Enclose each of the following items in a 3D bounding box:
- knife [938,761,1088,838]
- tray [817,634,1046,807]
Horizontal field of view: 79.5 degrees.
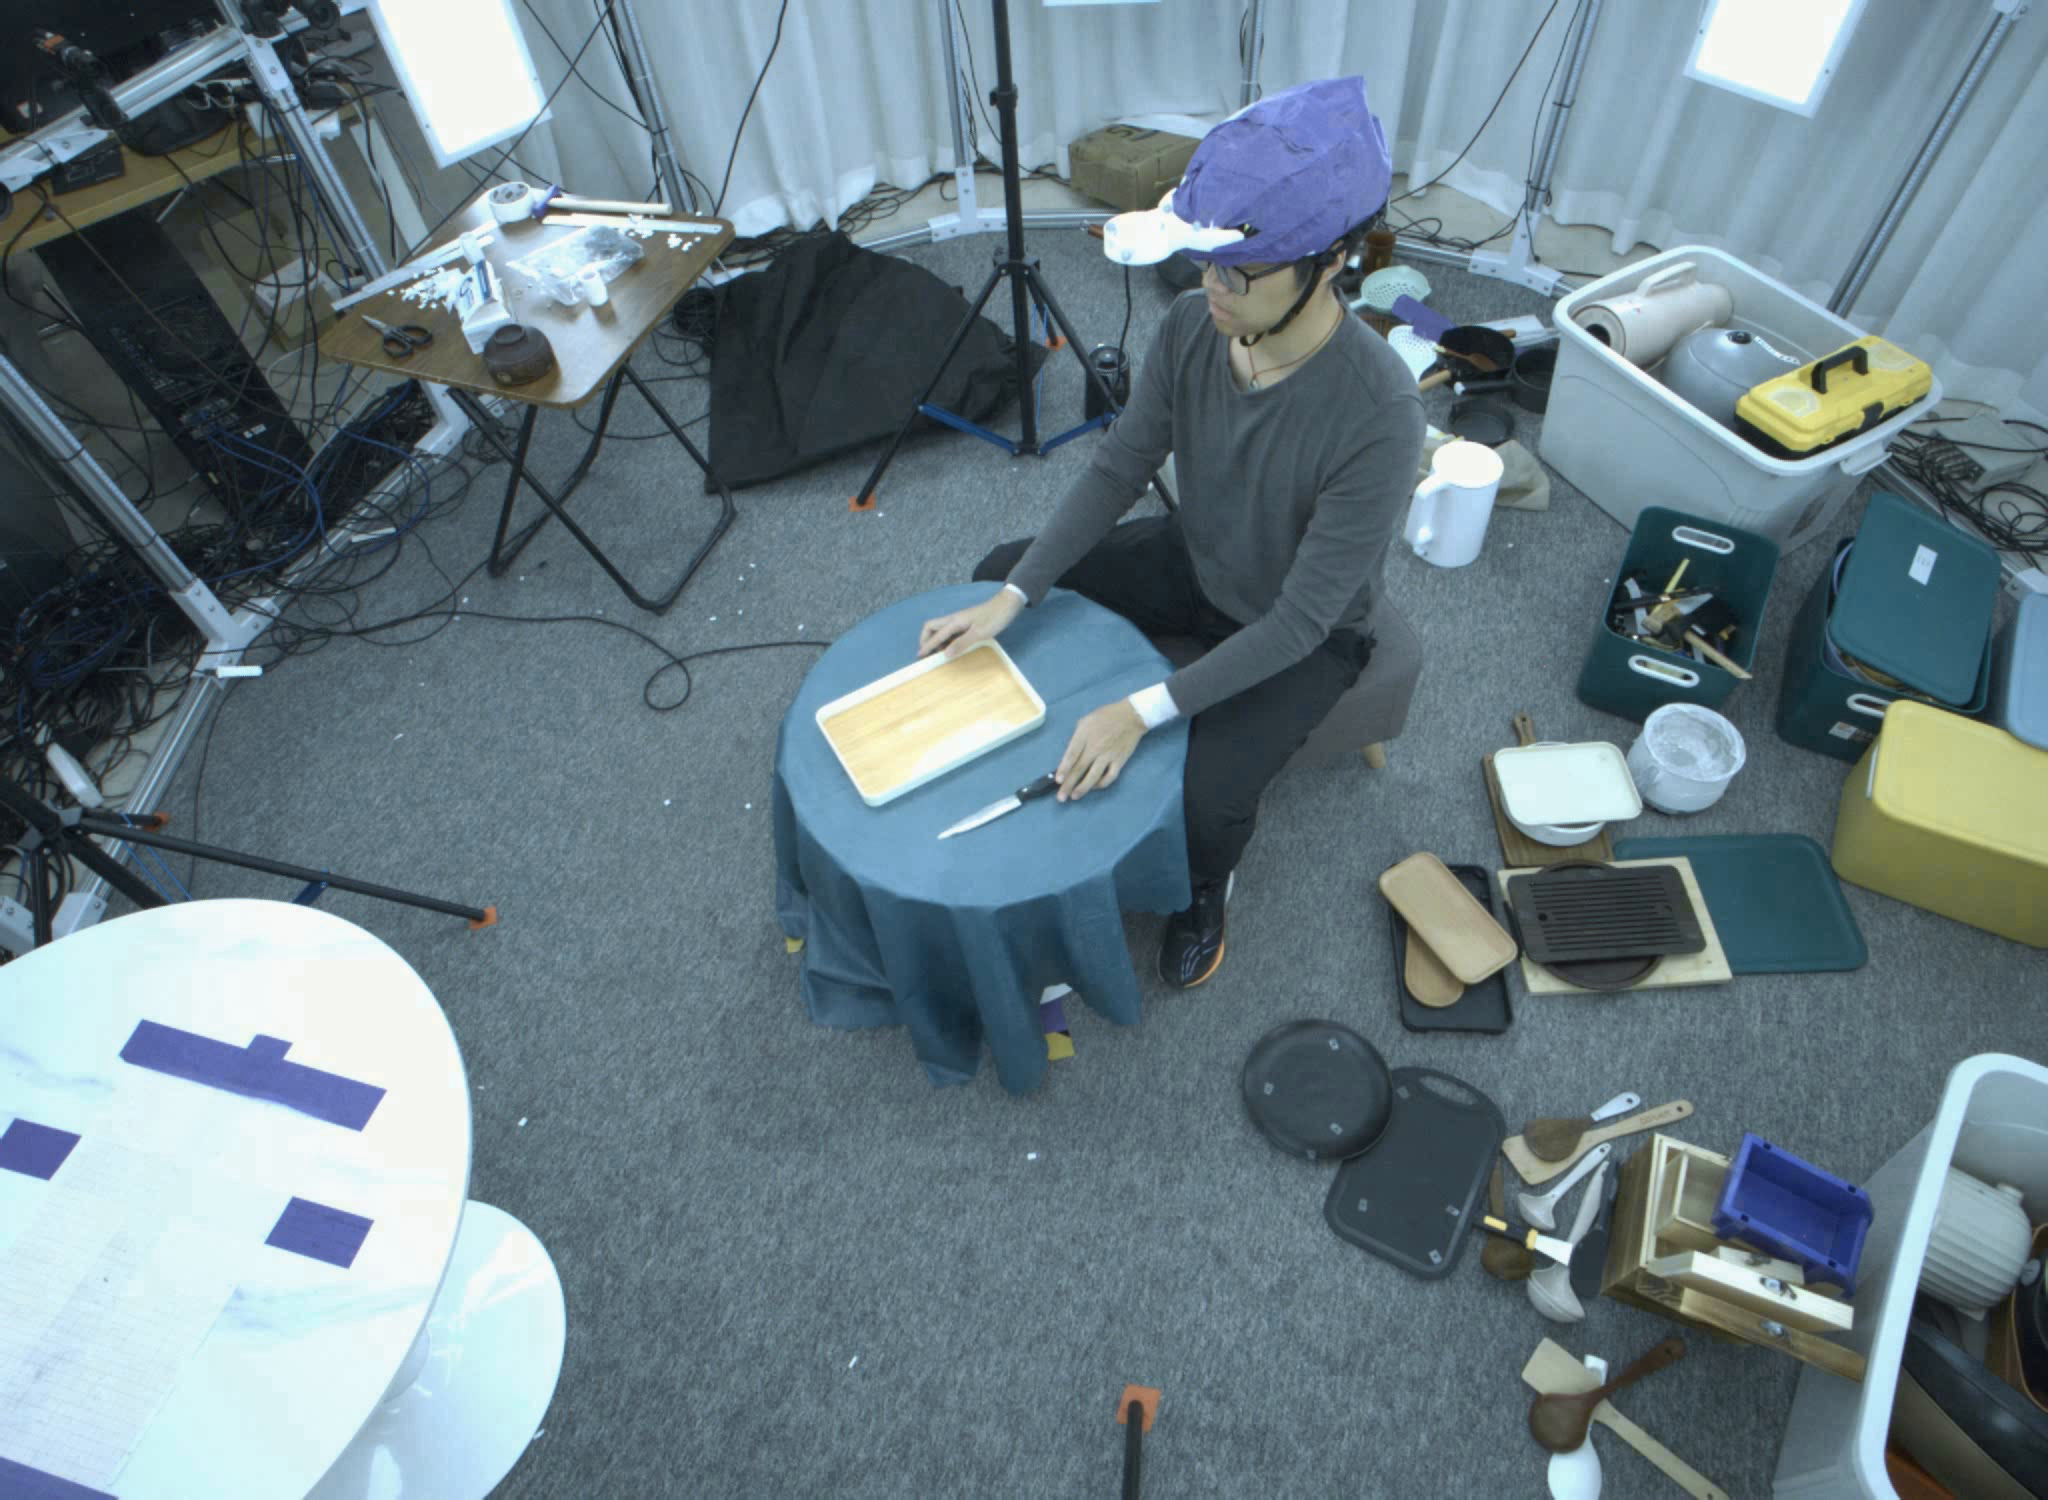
[{"bbox_3d":[-0.016,0.069,1.738,0.240,0.016,0.024,-25,51,-15],"label":"knife"},{"bbox_3d":[-0.137,-0.049,1.817,0.303,0.027,0.188,-26,59,-16],"label":"tray"}]
